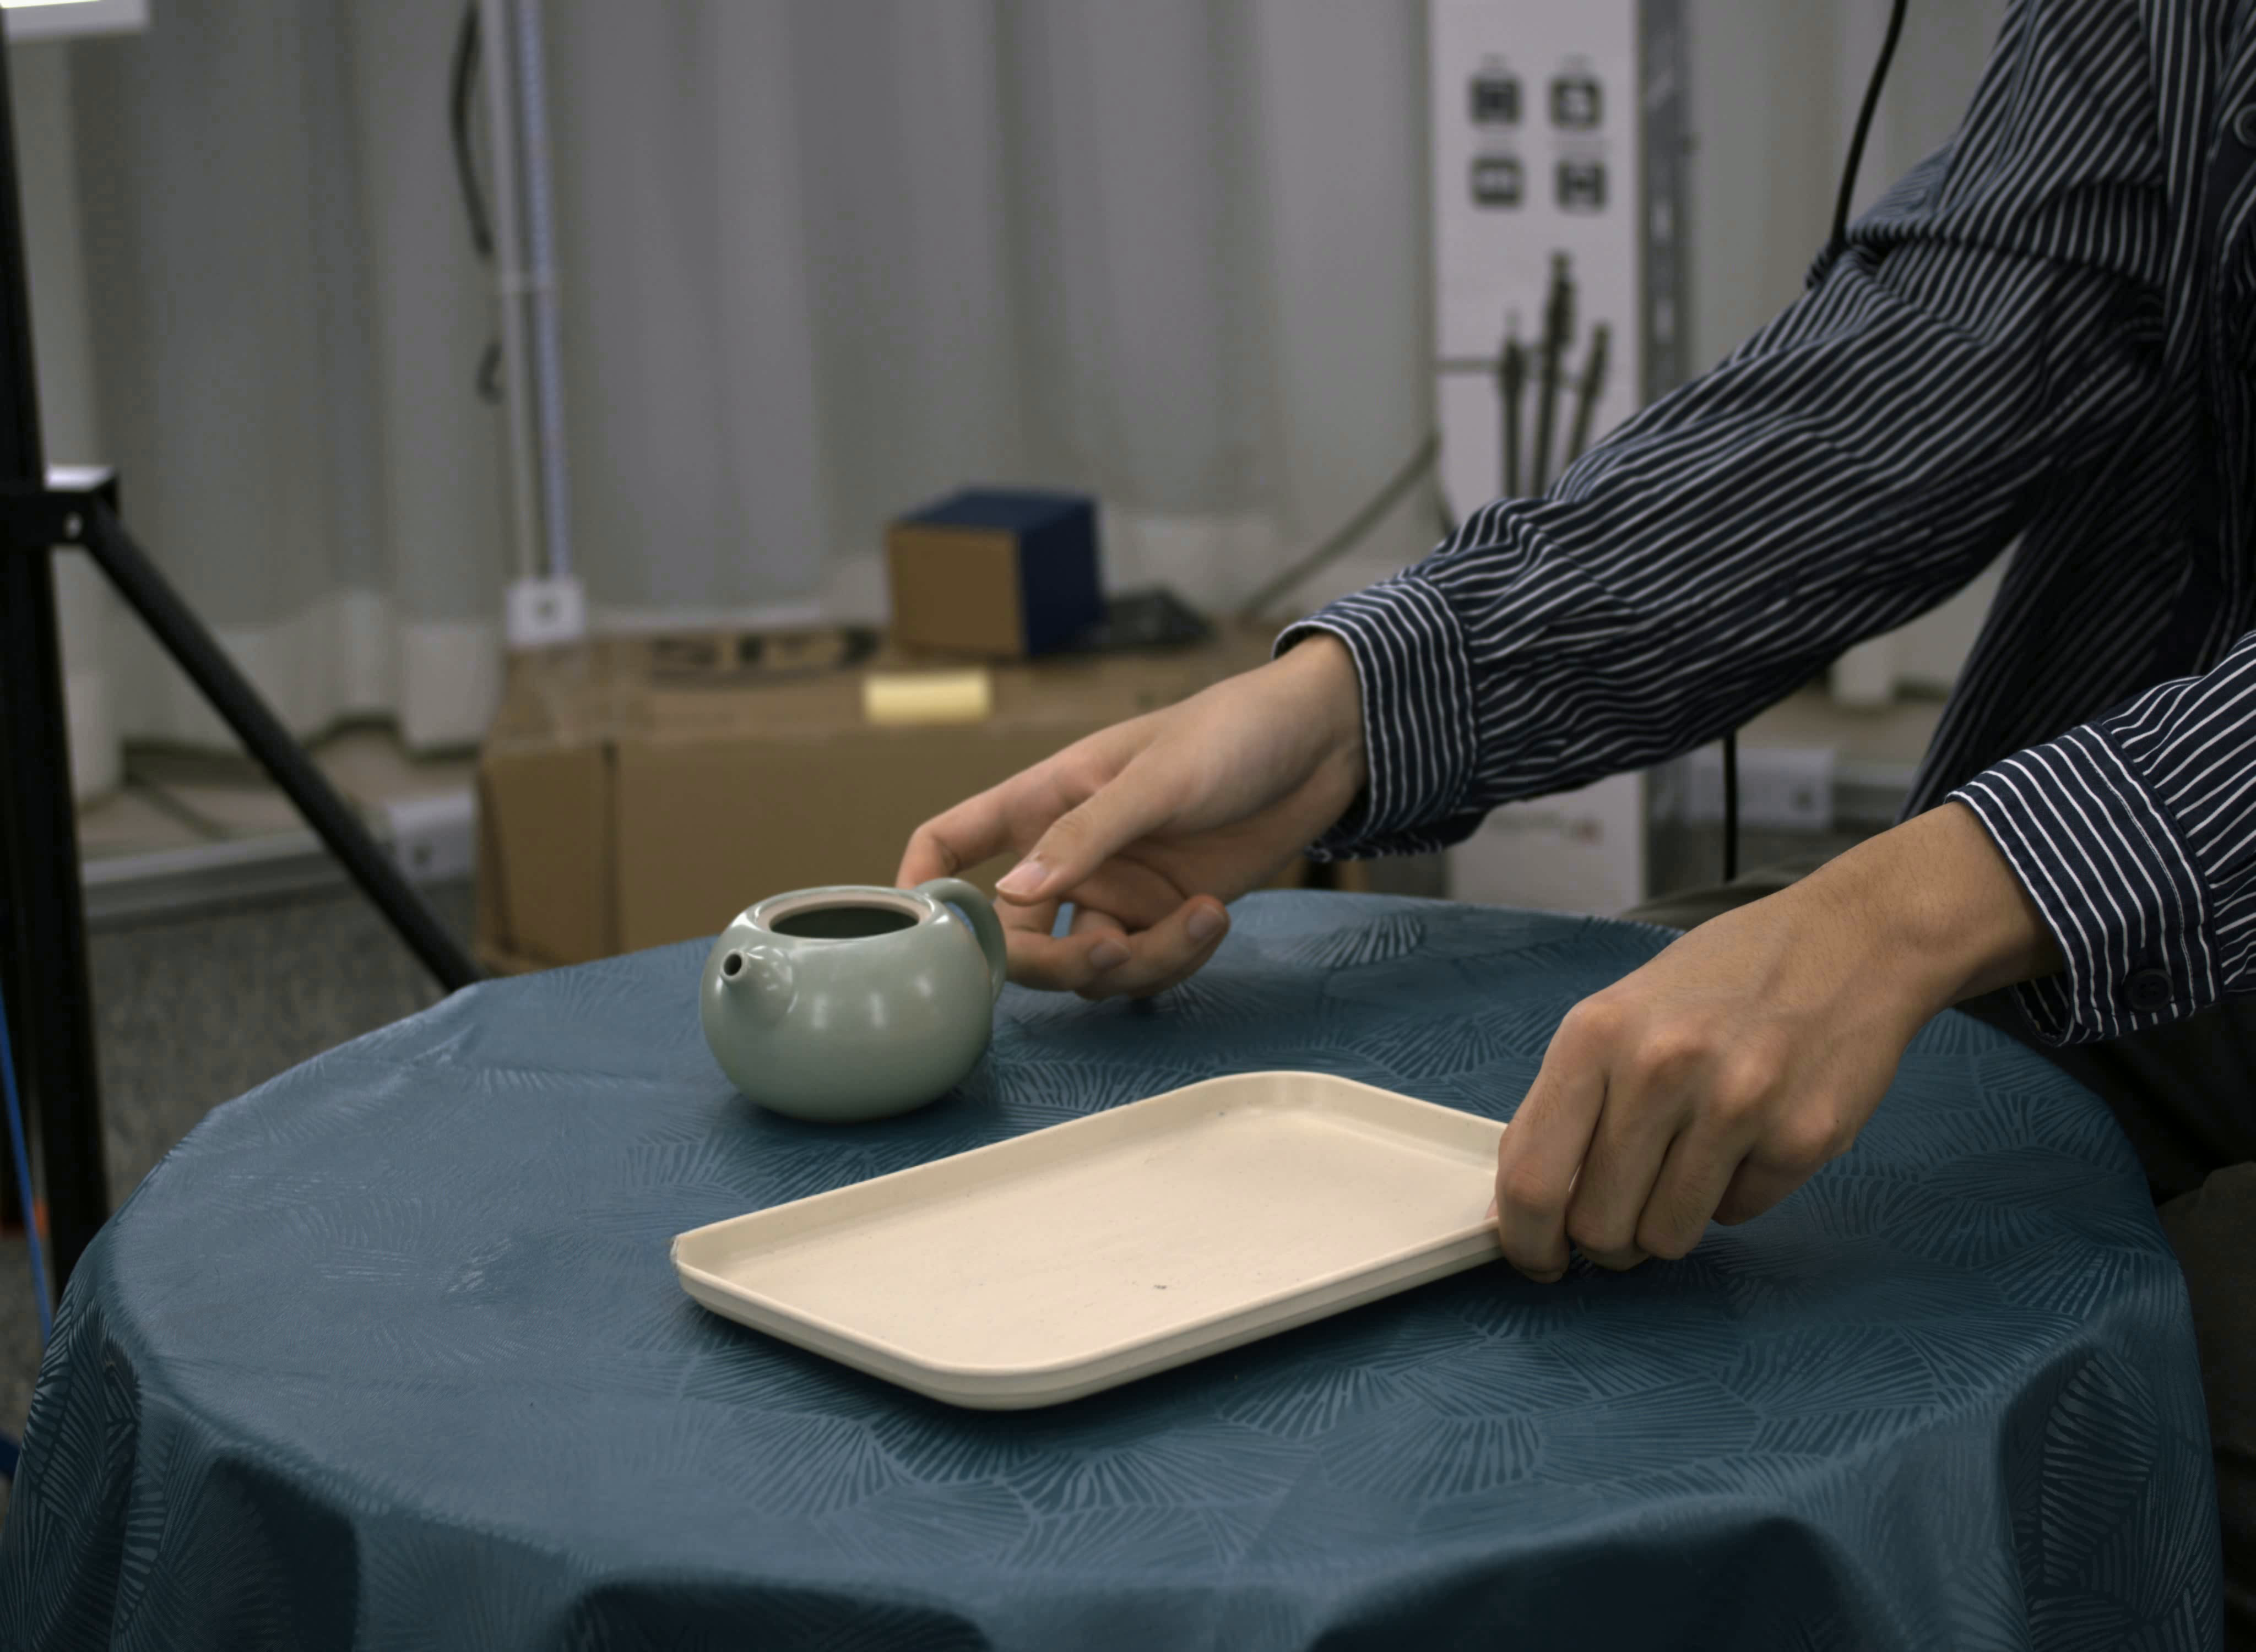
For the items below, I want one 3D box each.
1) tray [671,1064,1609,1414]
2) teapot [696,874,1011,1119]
[{"bbox_3d":[0.005,0.115,1.495,0.234,0.017,0.175,-14,18,-35],"label":"tray"},{"bbox_3d":[-0.082,0.052,1.662,0.093,0.061,0.125,10,20,43],"label":"teapot"}]
